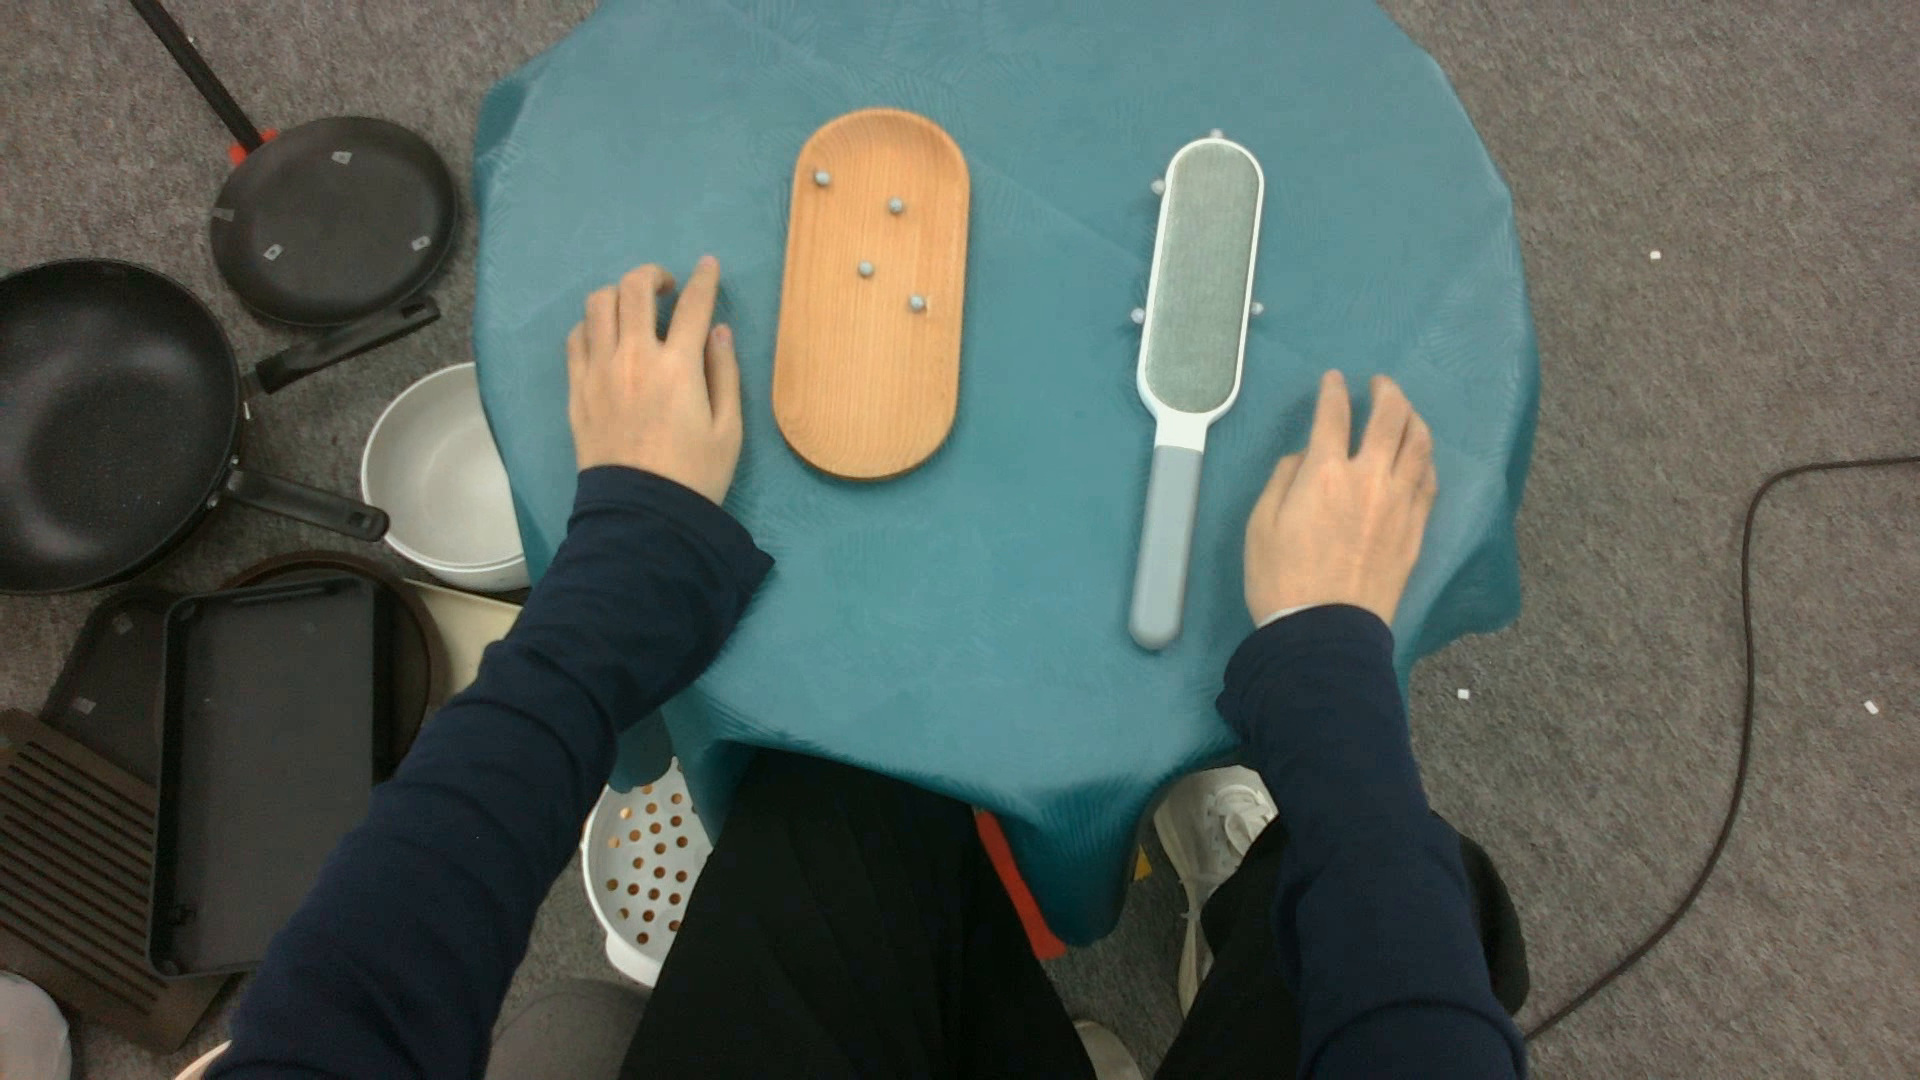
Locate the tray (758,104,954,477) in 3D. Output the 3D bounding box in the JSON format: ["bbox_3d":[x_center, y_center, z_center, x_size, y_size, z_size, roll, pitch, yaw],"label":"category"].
[{"bbox_3d":[-0.056,-0.143,0.769,0.101,0.020,0.232,2,72,0],"label":"tray"}]

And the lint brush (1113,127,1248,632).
[{"bbox_3d":[0.116,-0.097,0.756,0.060,0.021,0.310,12,70,-4],"label":"lint brush"}]
